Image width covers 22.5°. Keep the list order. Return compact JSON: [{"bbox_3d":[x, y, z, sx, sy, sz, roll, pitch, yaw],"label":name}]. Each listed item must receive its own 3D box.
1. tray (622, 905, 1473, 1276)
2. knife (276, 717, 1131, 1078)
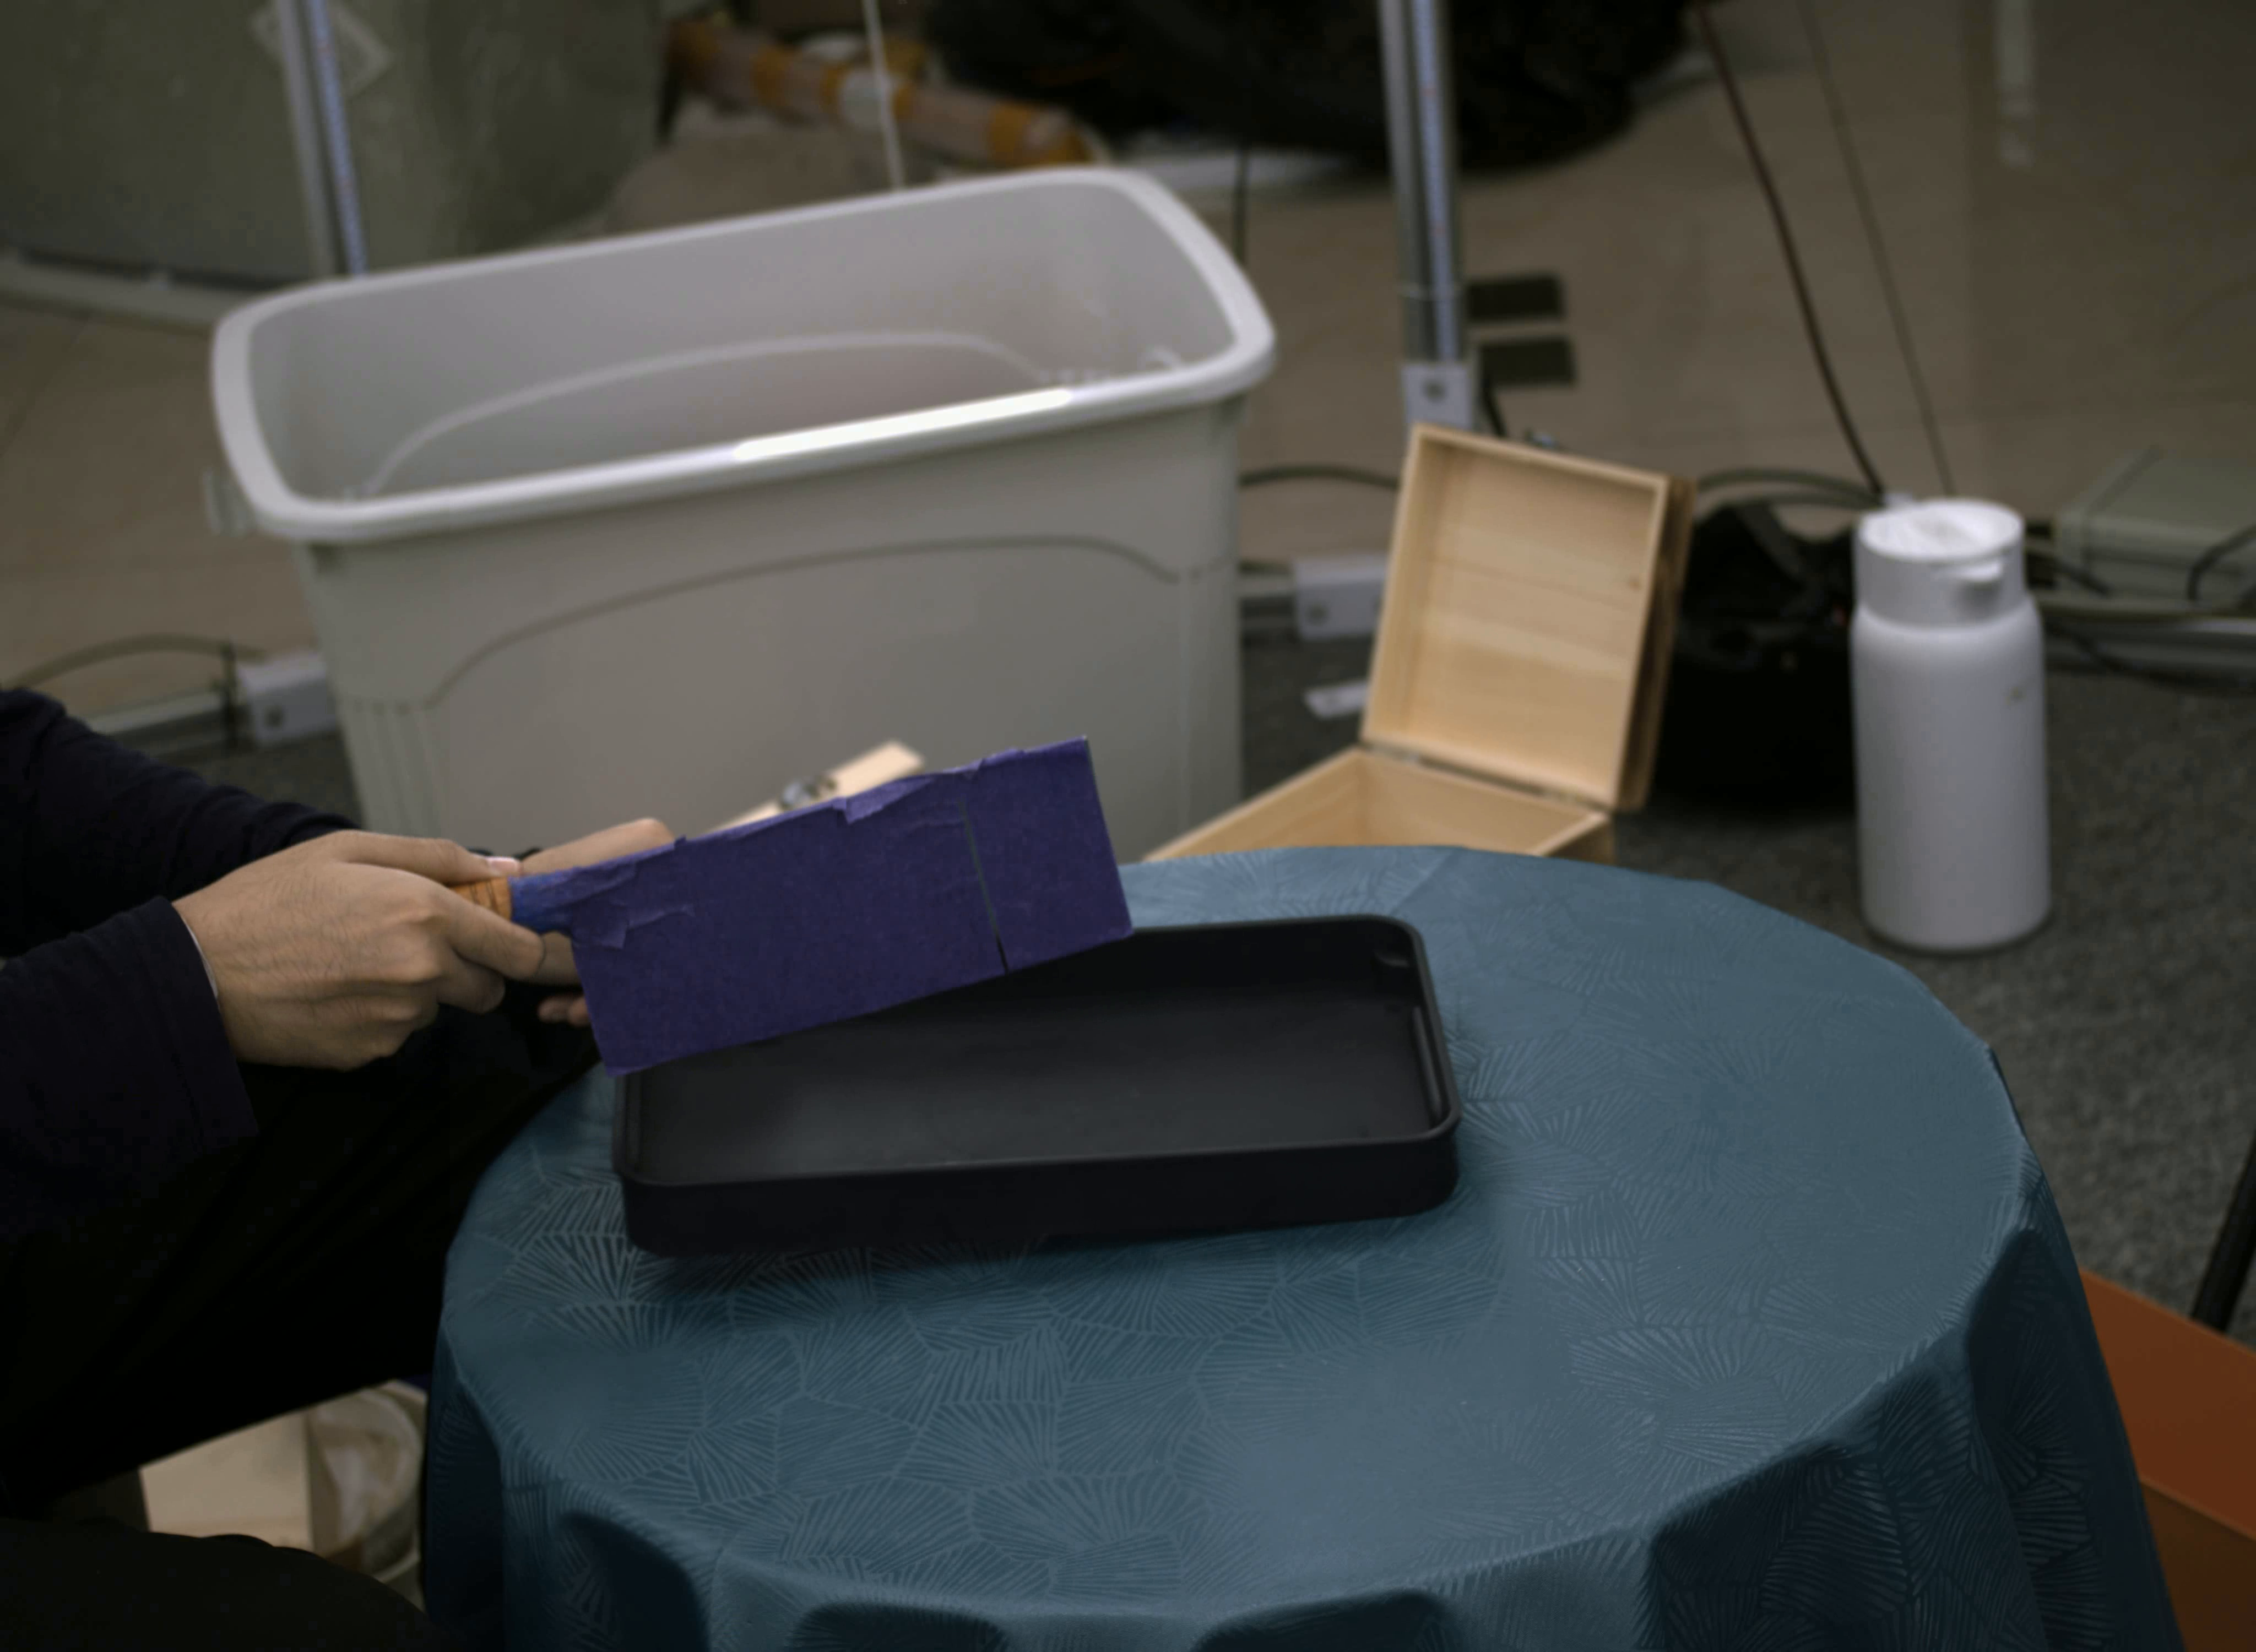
[{"bbox_3d":[-0.034,0.099,2.175,0.317,0.037,0.181,-5,28,-3],"label":"tray"},{"bbox_3d":[-0.154,0.045,2.112,0.314,0.105,0.032,-15,29,-3],"label":"knife"}]
